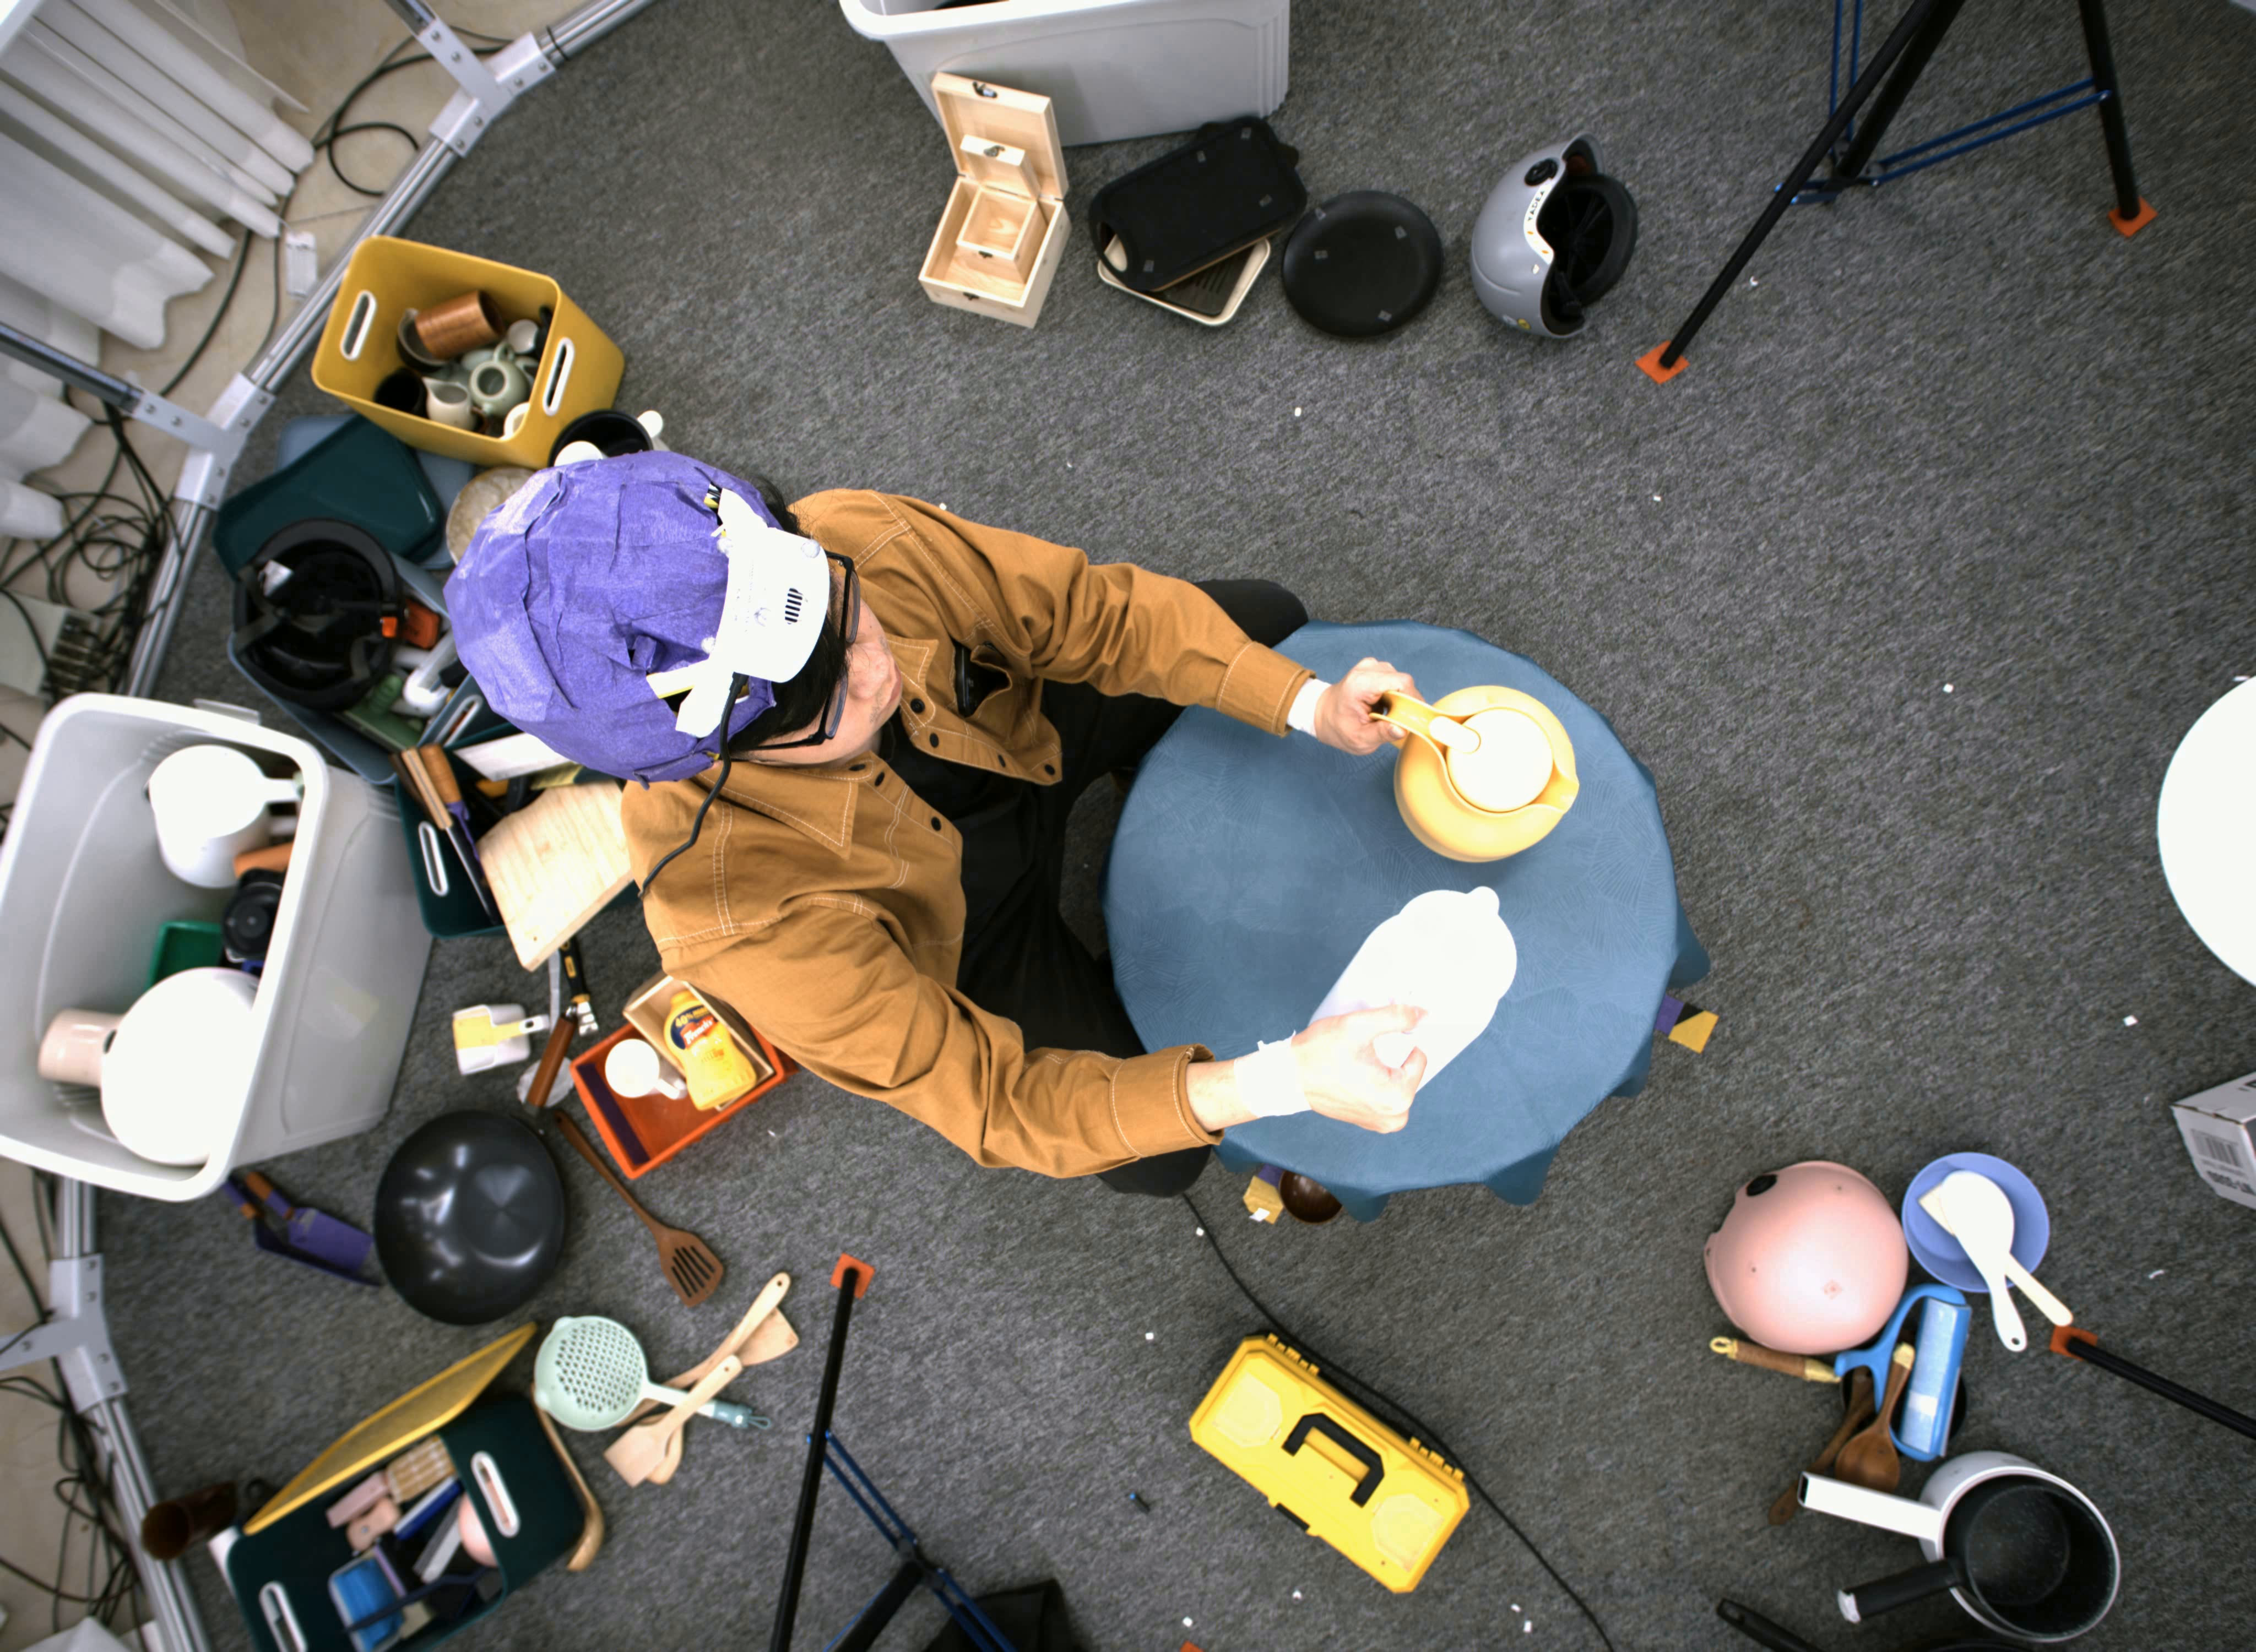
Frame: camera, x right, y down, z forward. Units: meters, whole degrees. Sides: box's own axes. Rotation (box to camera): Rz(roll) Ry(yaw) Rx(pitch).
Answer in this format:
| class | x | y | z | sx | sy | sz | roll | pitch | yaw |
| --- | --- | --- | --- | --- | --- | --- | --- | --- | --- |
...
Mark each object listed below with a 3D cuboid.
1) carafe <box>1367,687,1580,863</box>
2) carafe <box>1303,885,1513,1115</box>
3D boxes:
| class | x | y | z | sx | sy | sz | roll | pitch | yaw |
| --- | --- | --- | --- | --- | --- | --- | --- | --- | --- |
| carafe | 0.317 | -0.062 | 1.288 | 0.202 | 0.260 | 0.163 | 33 | 91 | 7 |
| carafe | 0.224 | 0.166 | 1.164 | 0.123 | 0.274 | 0.169 | 34 | 65 | 8 |
